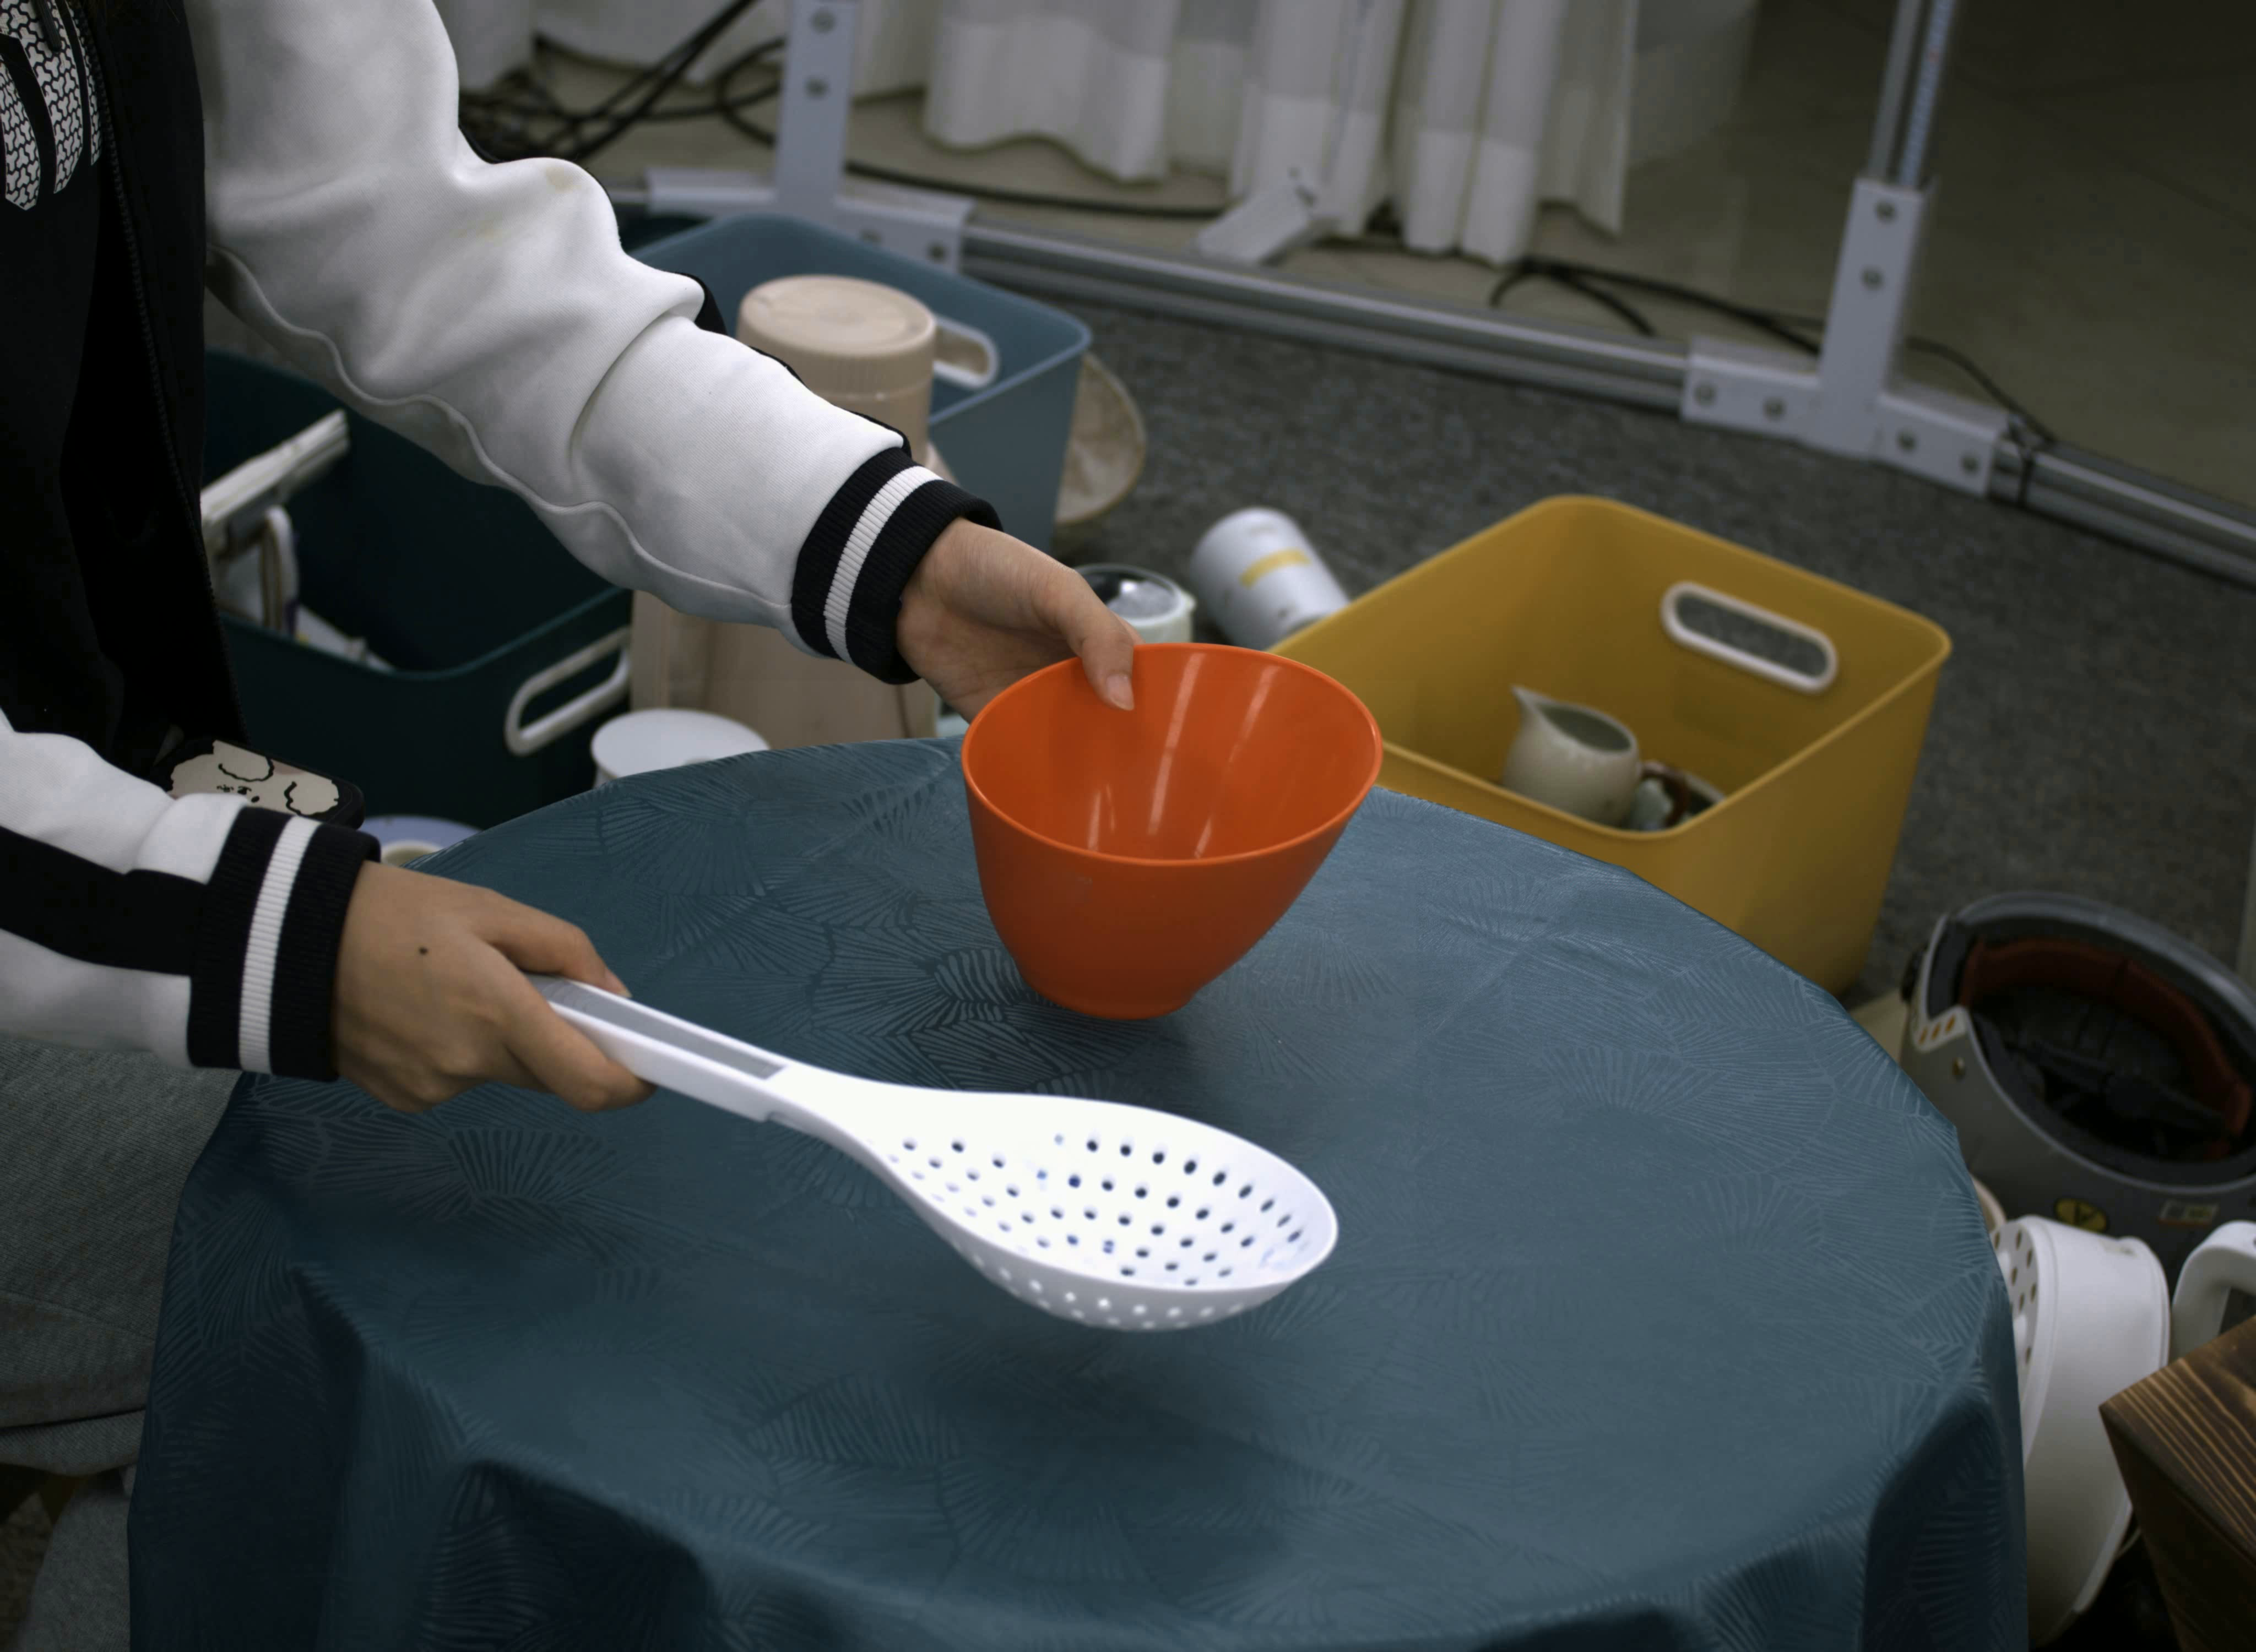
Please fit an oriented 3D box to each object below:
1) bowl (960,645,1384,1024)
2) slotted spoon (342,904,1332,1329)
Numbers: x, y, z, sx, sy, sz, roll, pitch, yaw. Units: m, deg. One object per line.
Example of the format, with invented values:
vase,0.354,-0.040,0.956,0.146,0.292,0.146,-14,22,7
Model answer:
bowl,0.010,0.009,1.892,0.147,0.104,0.149,6,30,-4
slotted spoon,-0.100,0.087,1.695,0.351,0.045,0.136,23,22,19
